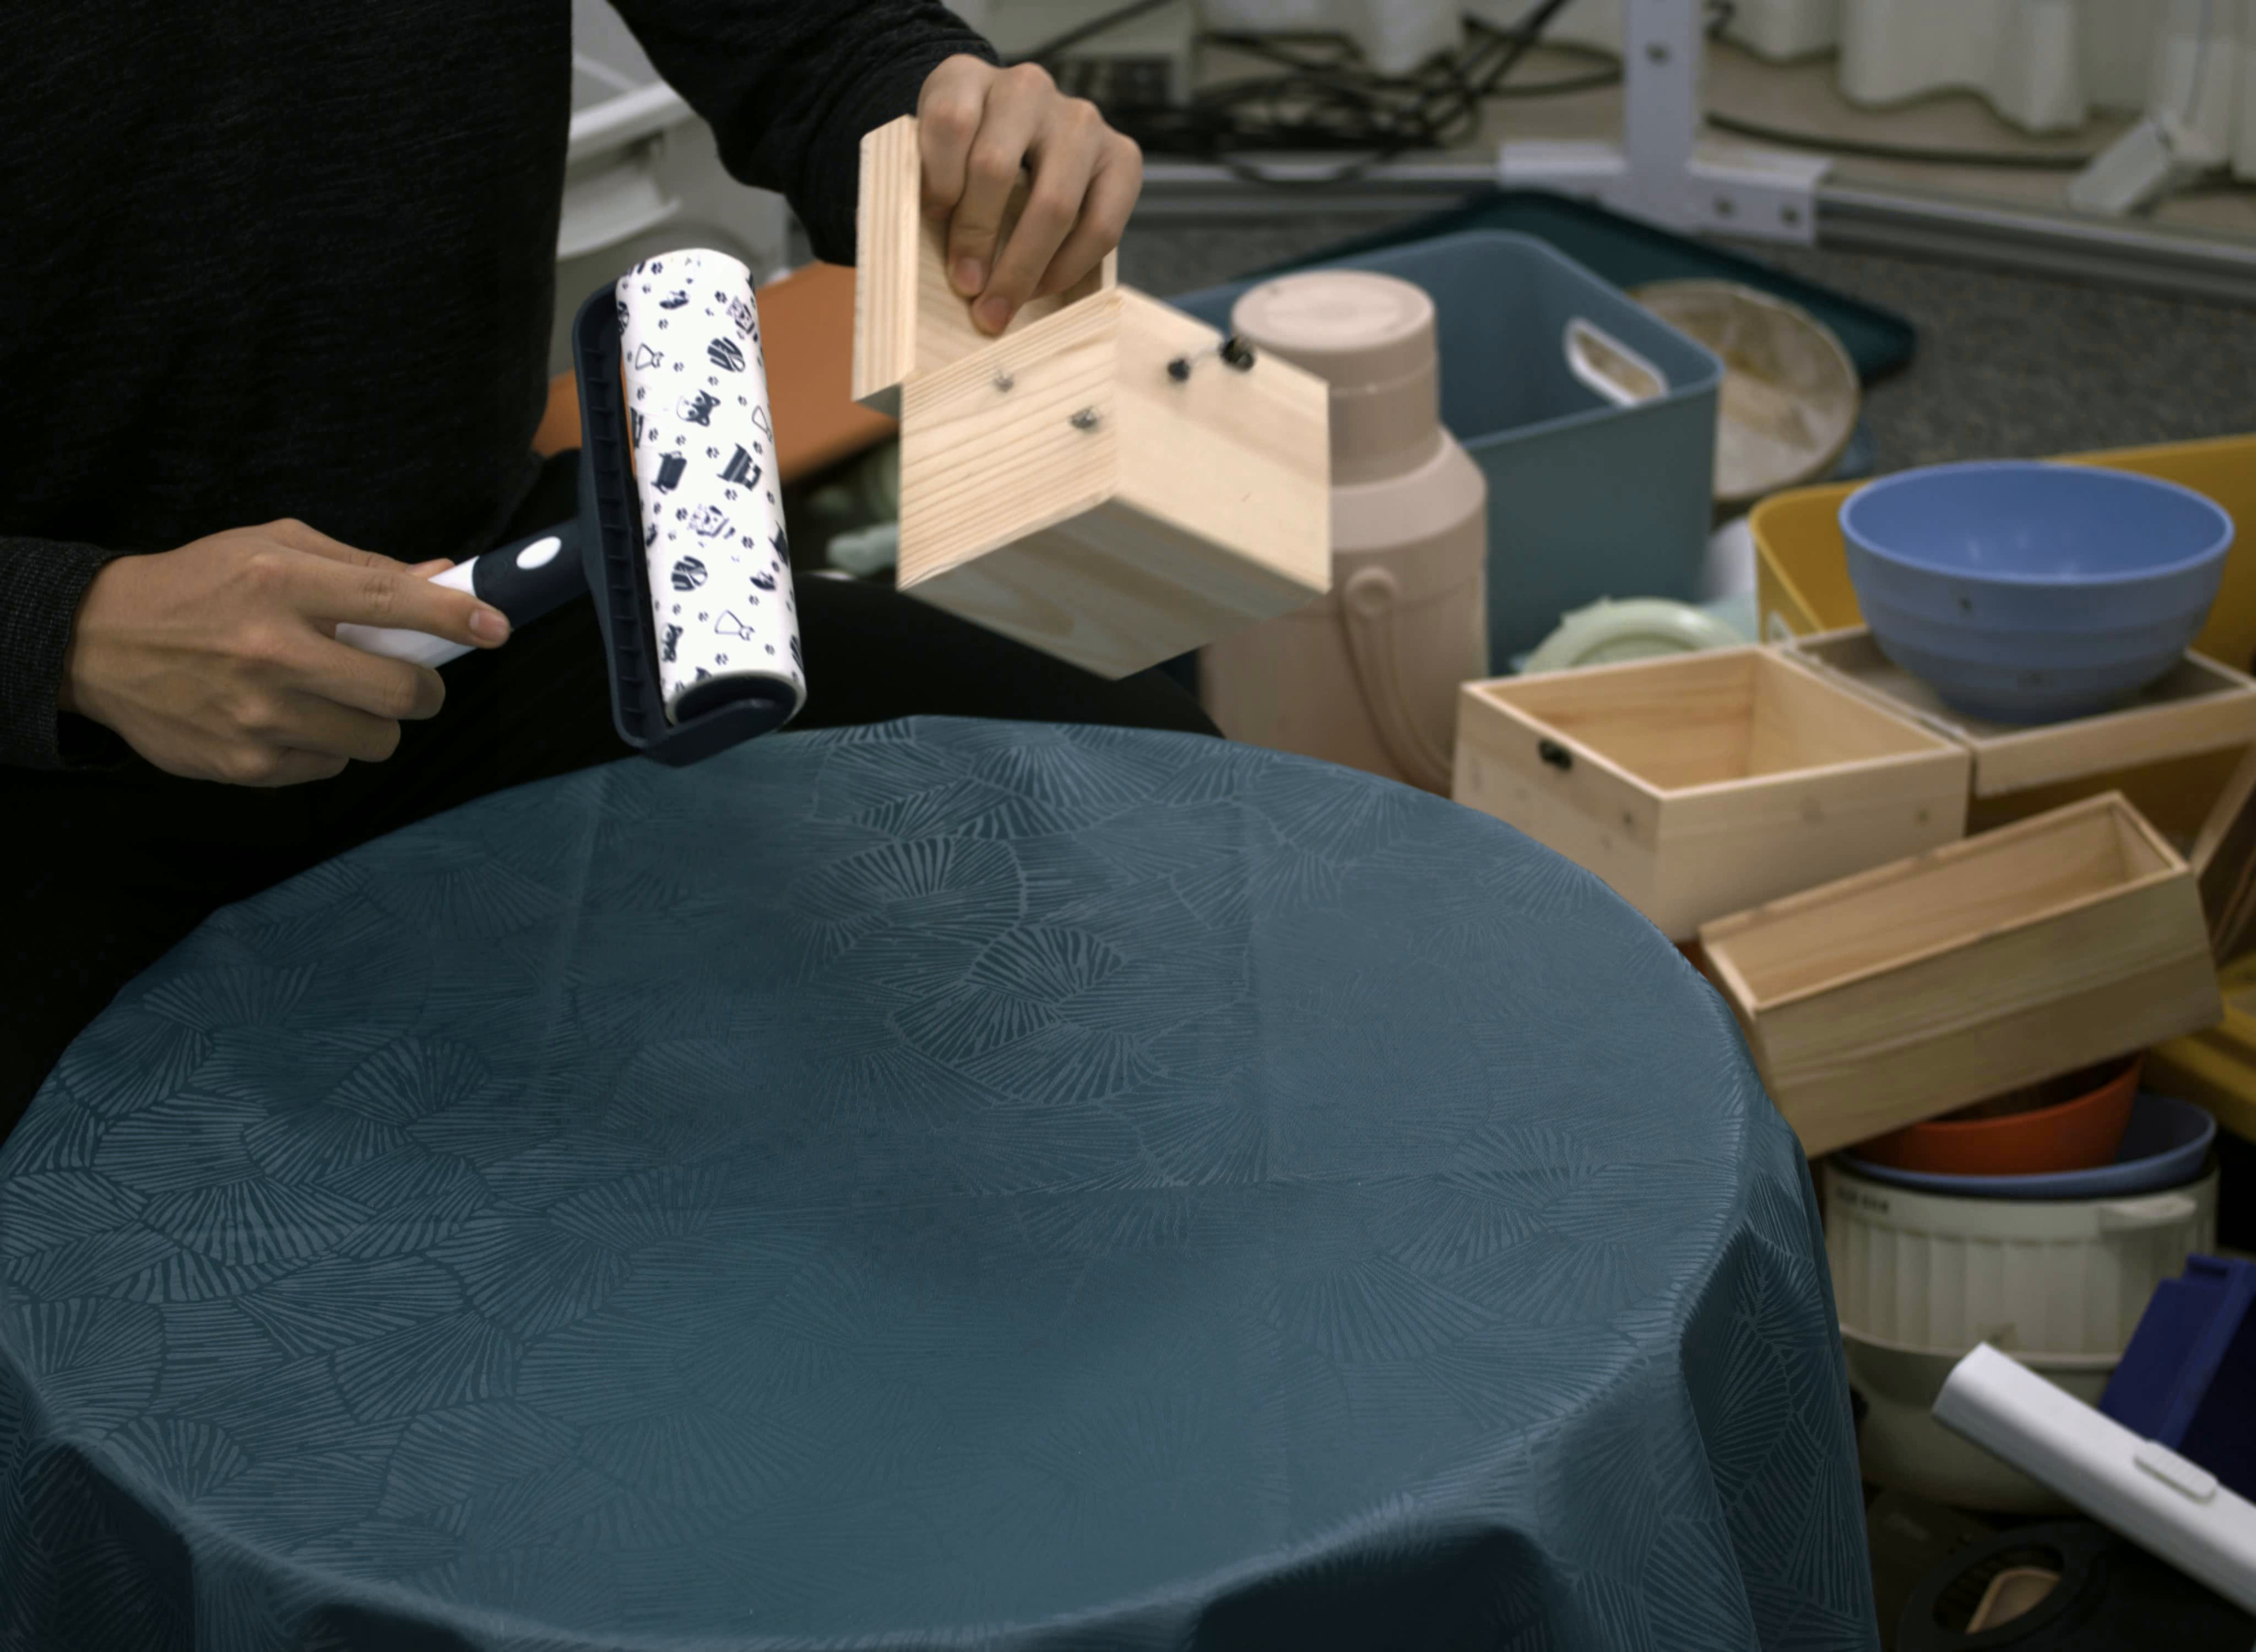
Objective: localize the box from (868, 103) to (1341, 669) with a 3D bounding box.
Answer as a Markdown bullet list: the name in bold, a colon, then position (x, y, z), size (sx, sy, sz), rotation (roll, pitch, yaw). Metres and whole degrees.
- **box**: position (-0.007, -0.162, 1.883), size (0.132, 0.188, 0.102), rotation (-23, -33, 39)

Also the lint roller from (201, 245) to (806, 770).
- **lint roller**: position (-0.222, -0.074, 1.906), size (0.244, 0.050, 0.179), rotation (-22, 62, 24)
